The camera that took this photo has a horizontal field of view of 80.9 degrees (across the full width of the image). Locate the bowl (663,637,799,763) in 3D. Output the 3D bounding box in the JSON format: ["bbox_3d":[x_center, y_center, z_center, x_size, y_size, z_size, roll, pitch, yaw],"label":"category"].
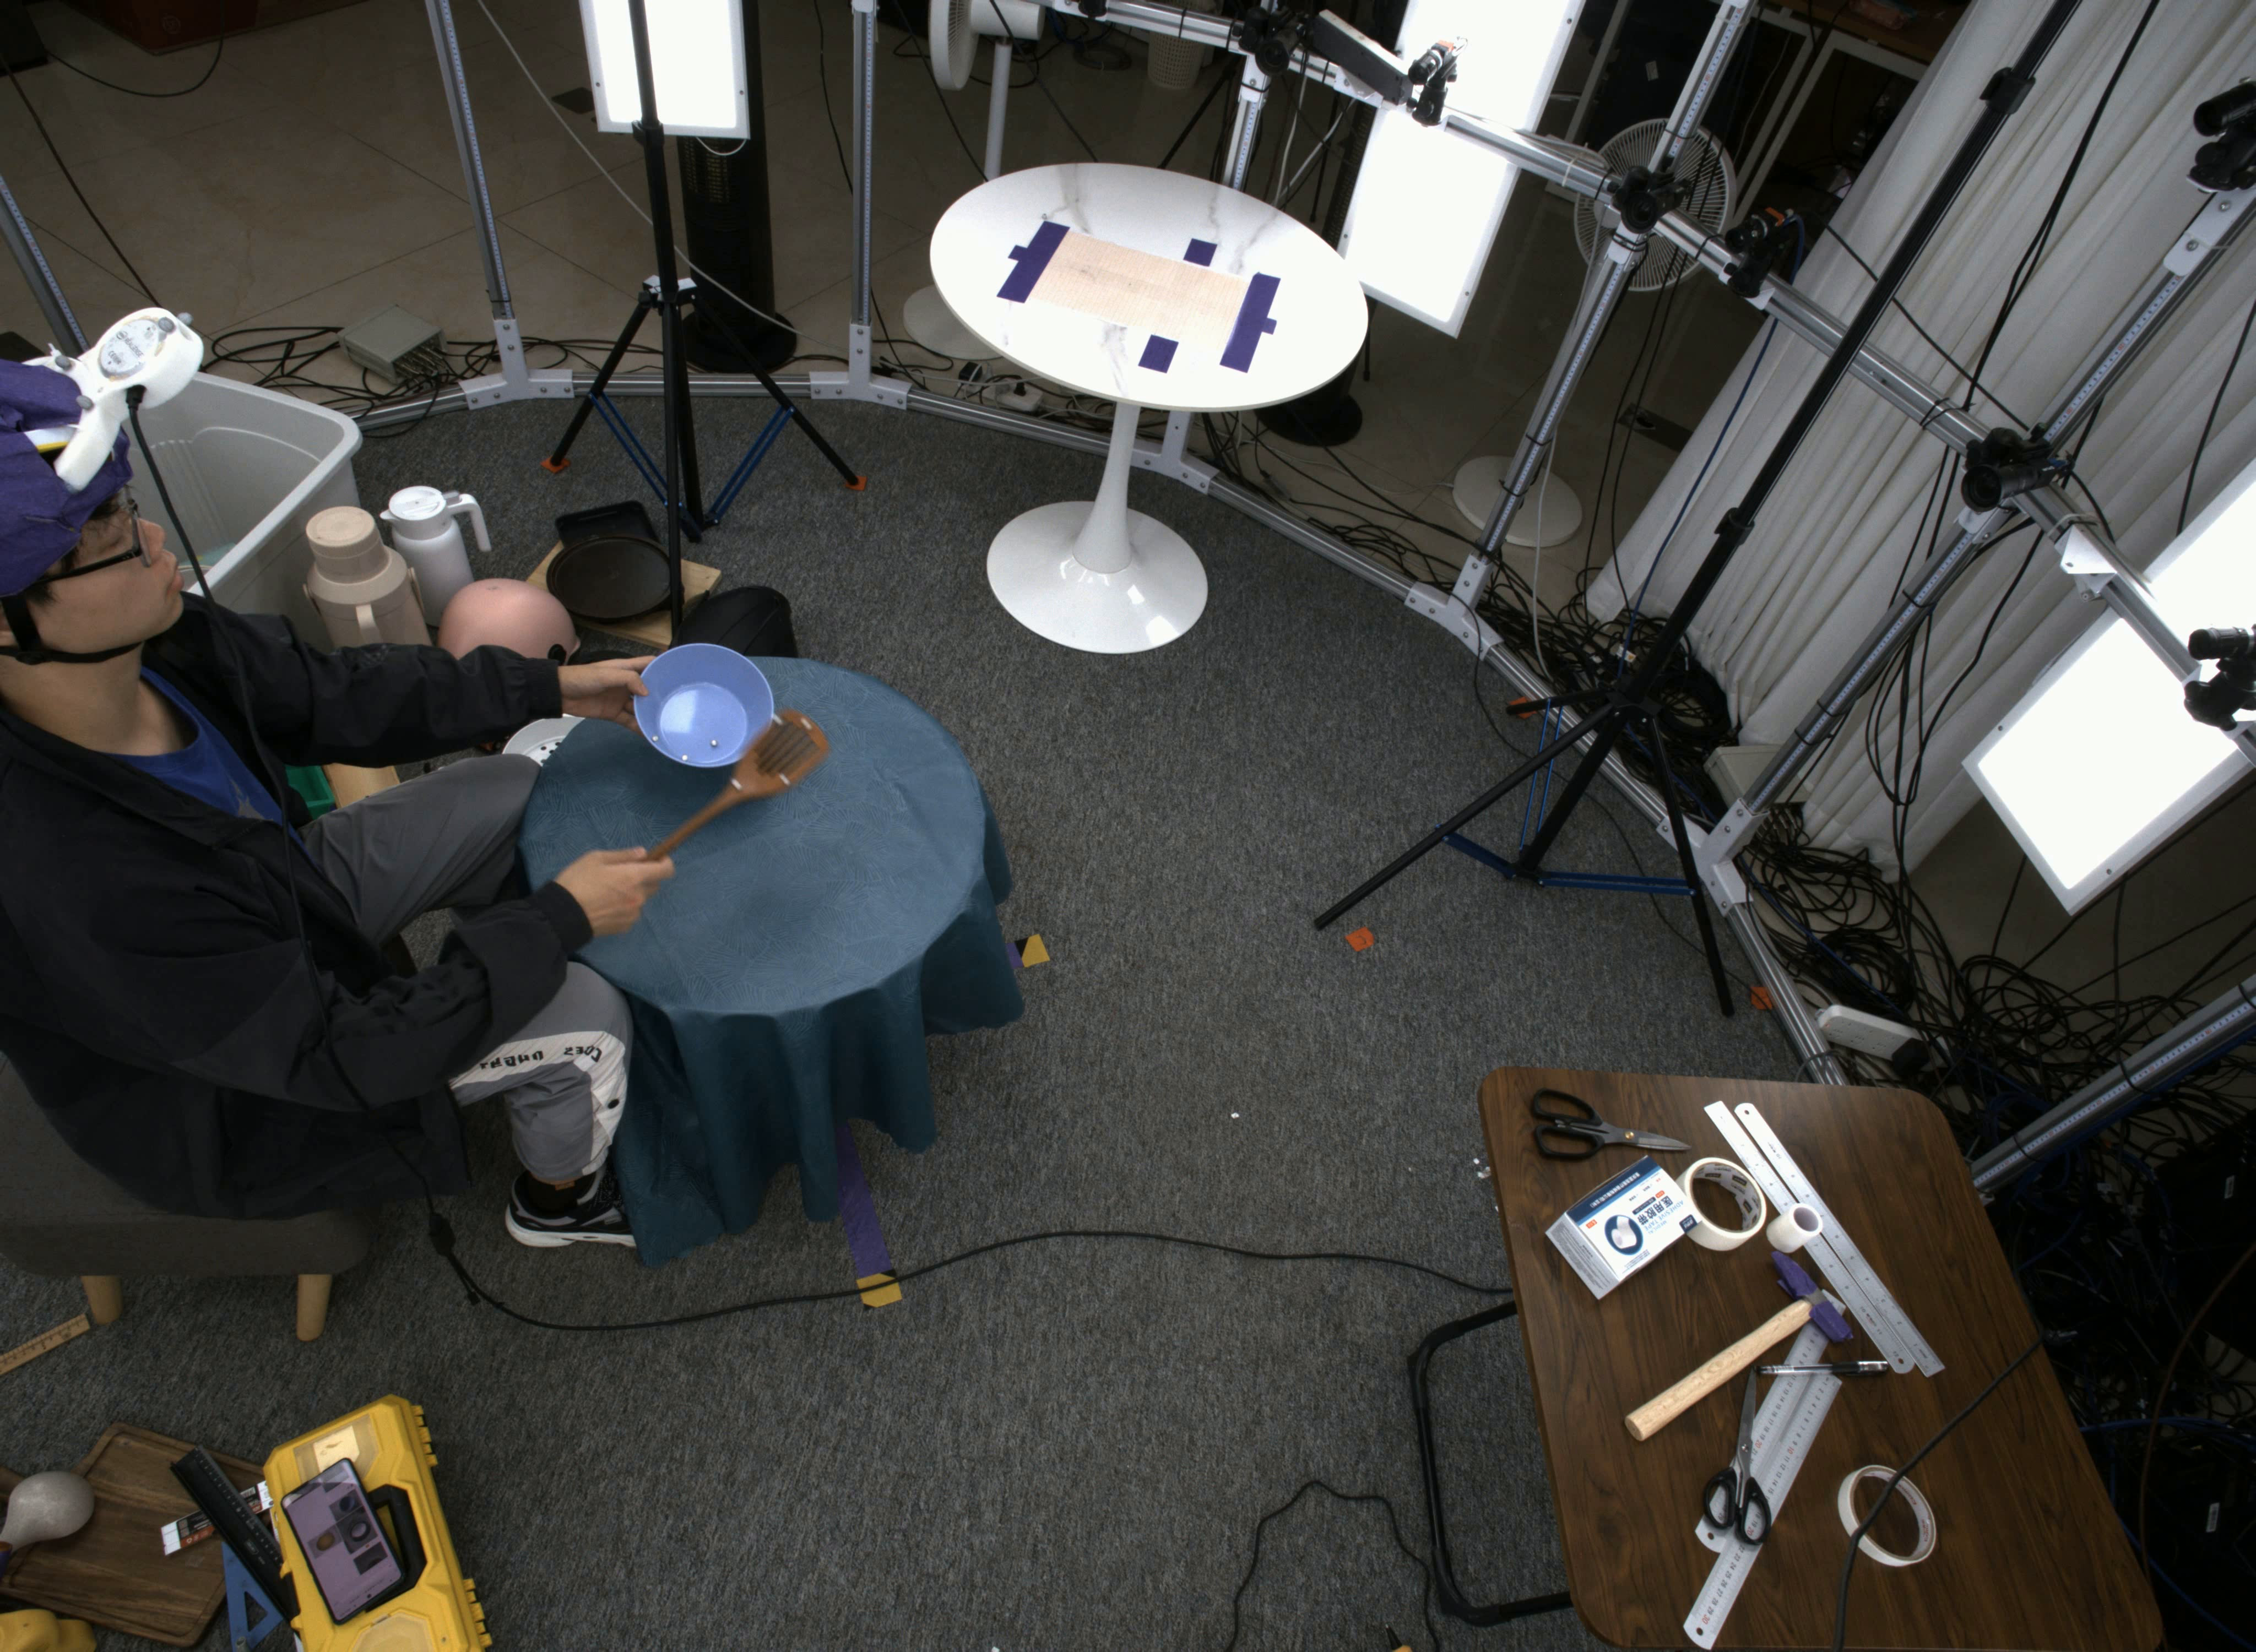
[{"bbox_3d":[-0.528,-0.156,1.712,0.177,0.070,0.175,7,70,-19],"label":"bowl"}]

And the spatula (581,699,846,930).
[{"bbox_3d":[-0.492,-0.011,1.517,0.084,0.024,0.386,41,67,13],"label":"spatula"}]
